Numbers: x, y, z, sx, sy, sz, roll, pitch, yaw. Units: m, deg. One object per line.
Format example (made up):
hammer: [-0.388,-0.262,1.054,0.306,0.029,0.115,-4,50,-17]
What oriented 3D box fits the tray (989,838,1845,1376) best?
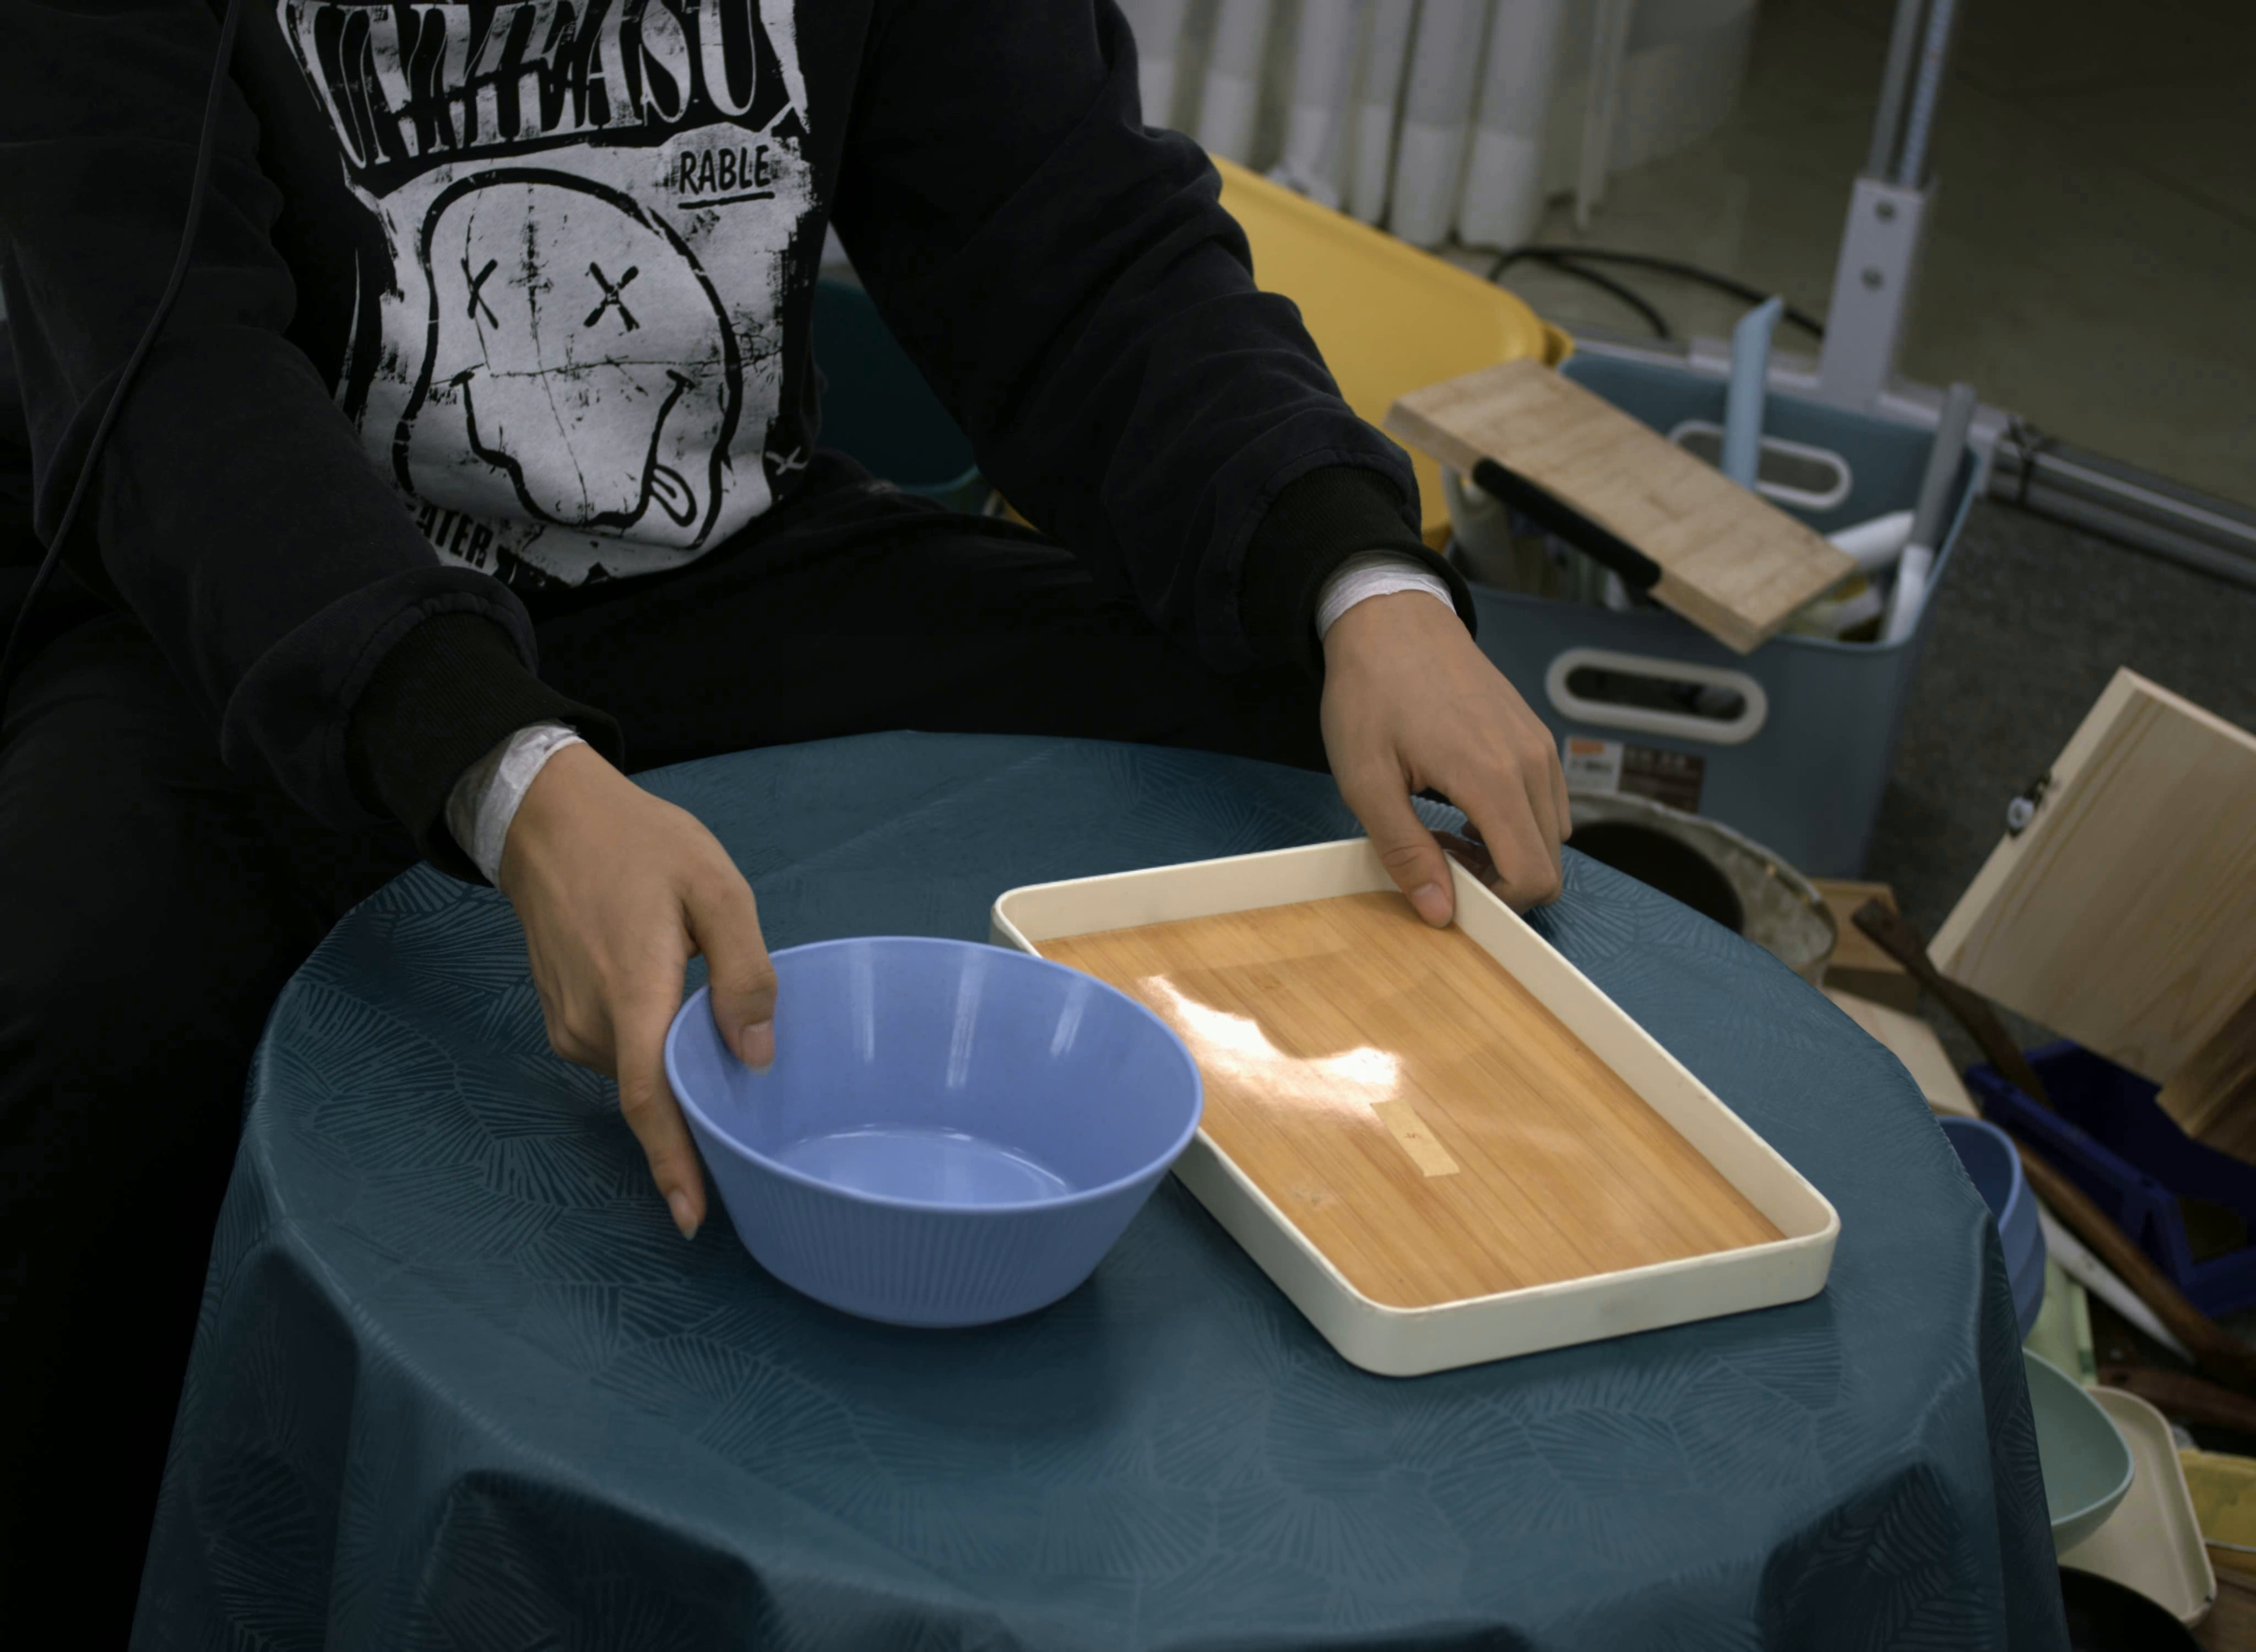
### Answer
tray: [0.095,0.092,1.856,0.190,0.027,0.303,-8,30,-26]

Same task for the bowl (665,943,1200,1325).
bowl: [-0.067,0.106,1.741,0.175,0.070,0.177,6,26,-3]
